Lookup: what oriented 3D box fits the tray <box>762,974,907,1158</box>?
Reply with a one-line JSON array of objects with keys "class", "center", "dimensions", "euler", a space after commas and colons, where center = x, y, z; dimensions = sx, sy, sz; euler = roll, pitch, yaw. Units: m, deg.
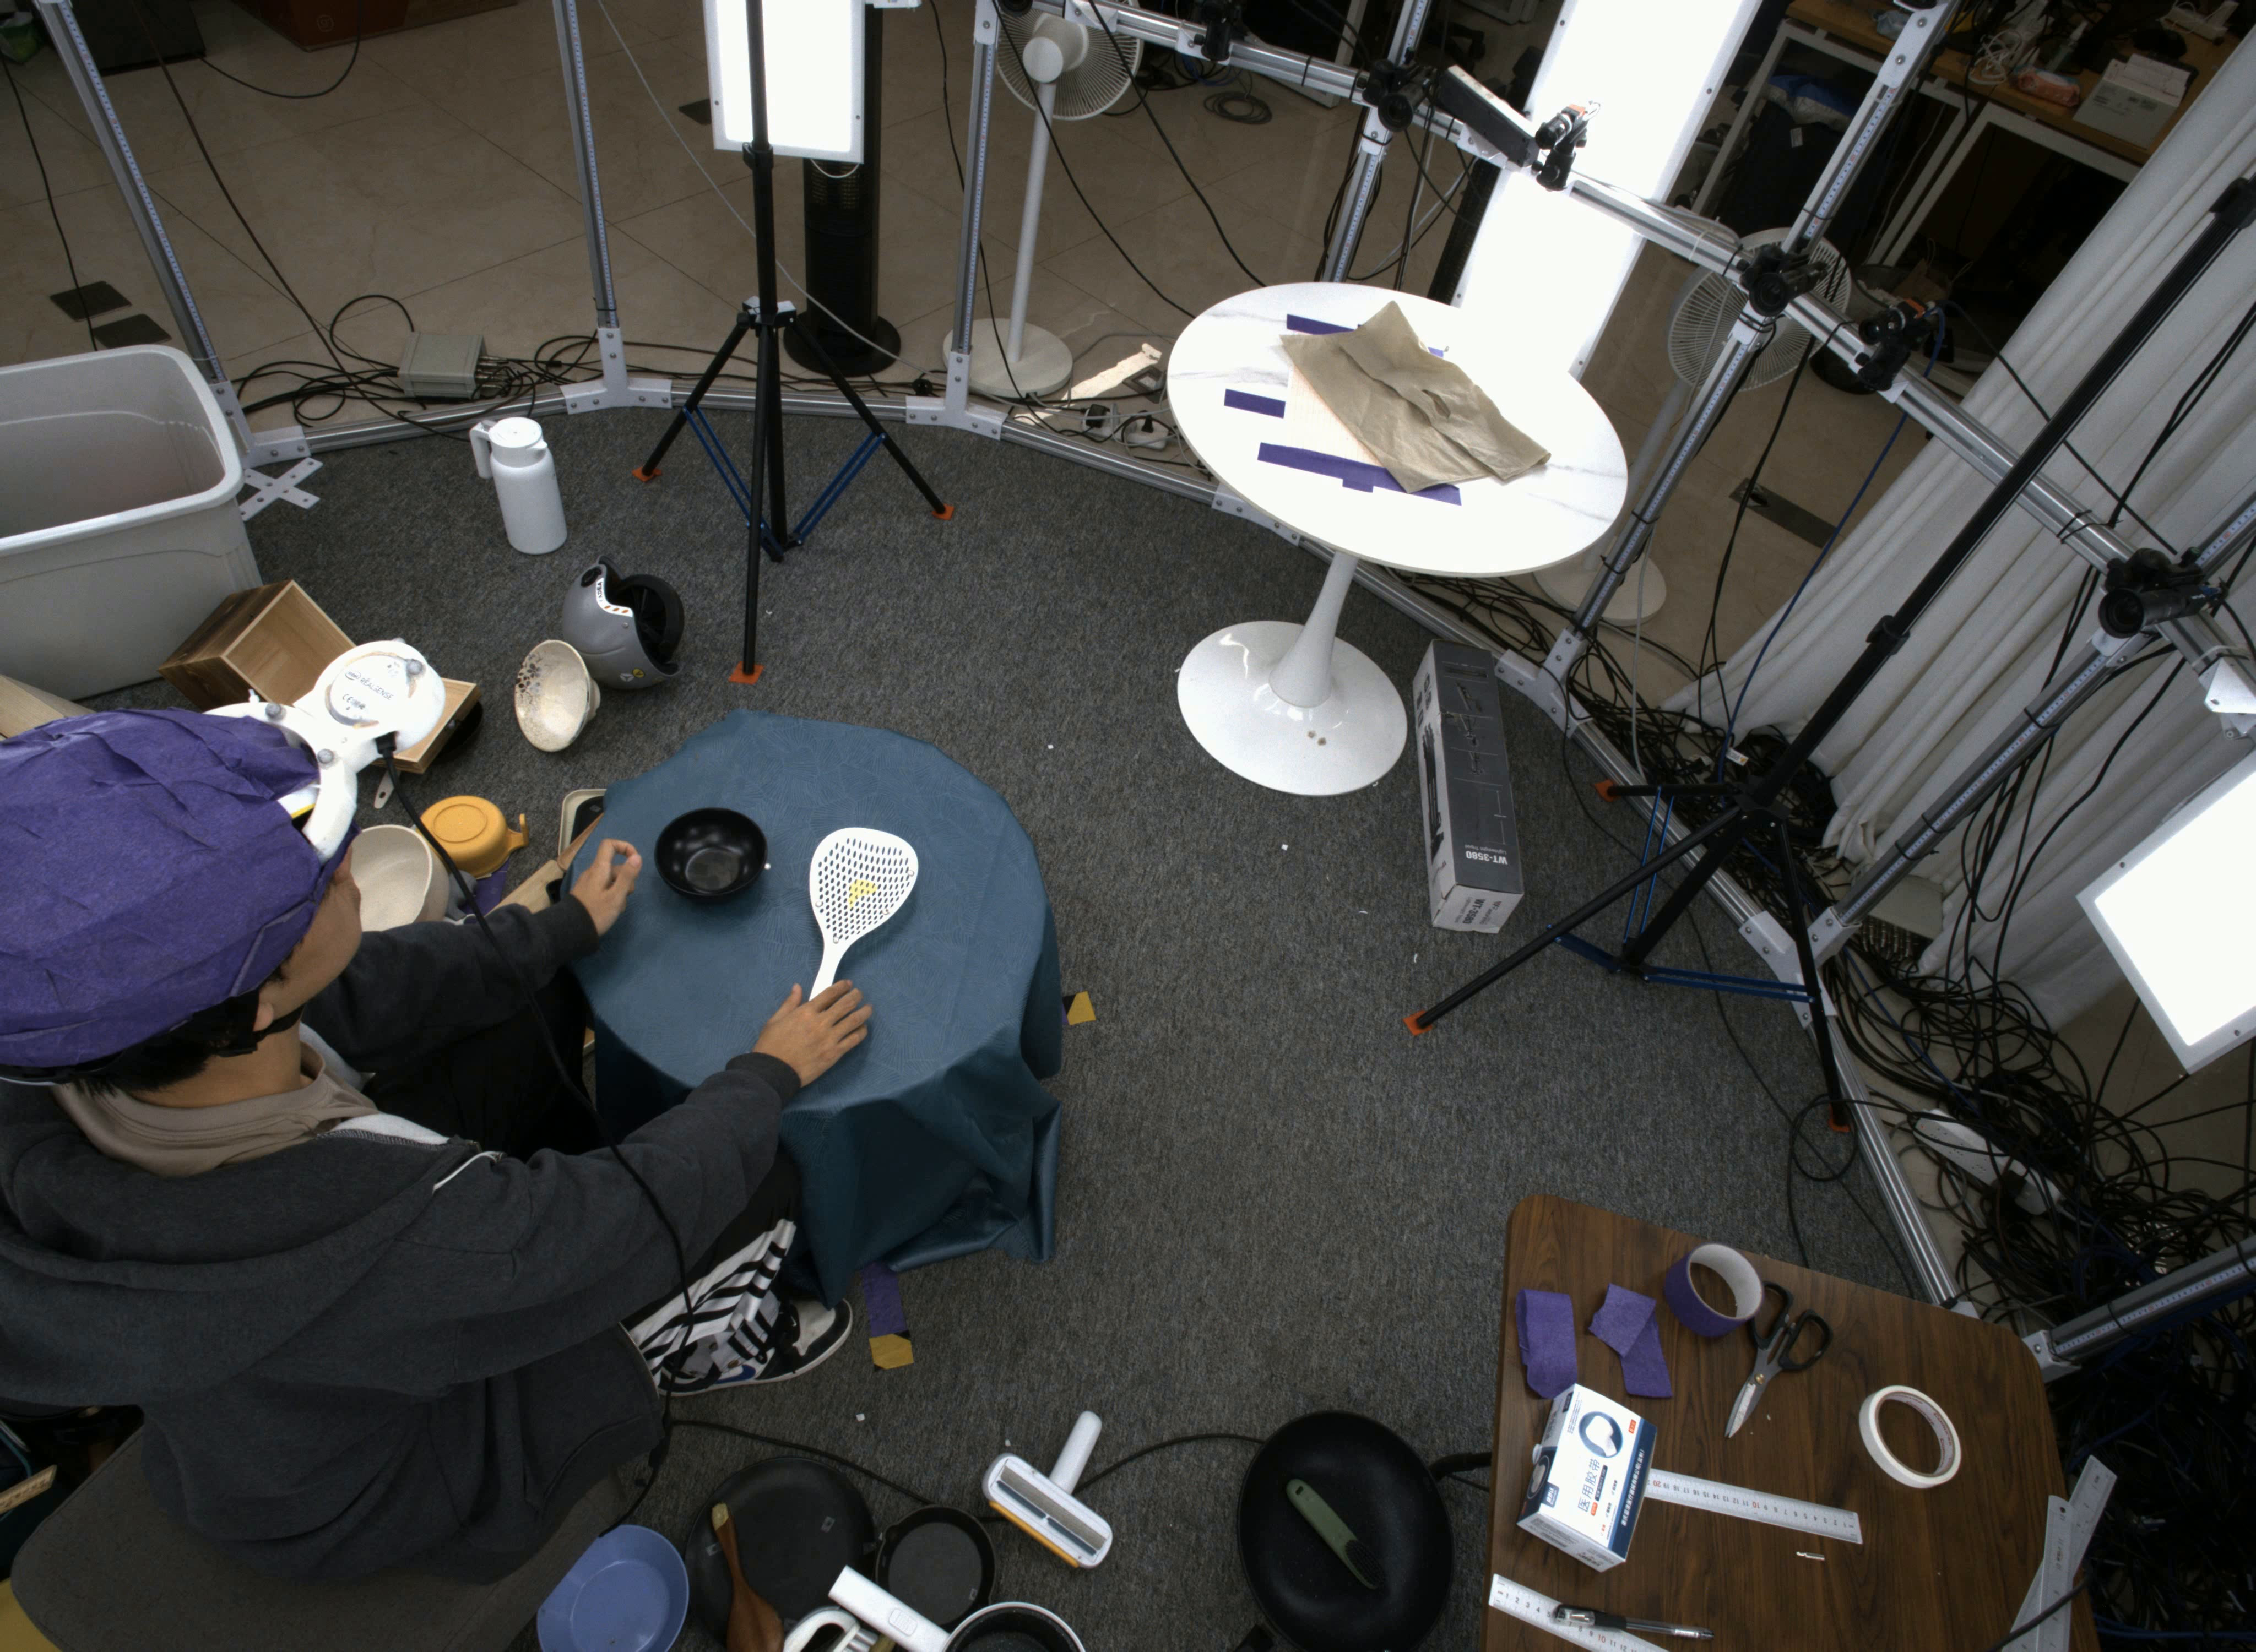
[{"class": "tray", "center": [-0.486, 0.385, 2.135], "dimensions": [0.192, 0.028, 0.293], "euler": [-8, 56, -20]}]

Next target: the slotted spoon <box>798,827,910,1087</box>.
[{"class": "slotted spoon", "center": [-0.364, 0.152, 1.605], "dimensions": [0.136, 0.051, 0.343], "euler": [13, 52, -6]}]
